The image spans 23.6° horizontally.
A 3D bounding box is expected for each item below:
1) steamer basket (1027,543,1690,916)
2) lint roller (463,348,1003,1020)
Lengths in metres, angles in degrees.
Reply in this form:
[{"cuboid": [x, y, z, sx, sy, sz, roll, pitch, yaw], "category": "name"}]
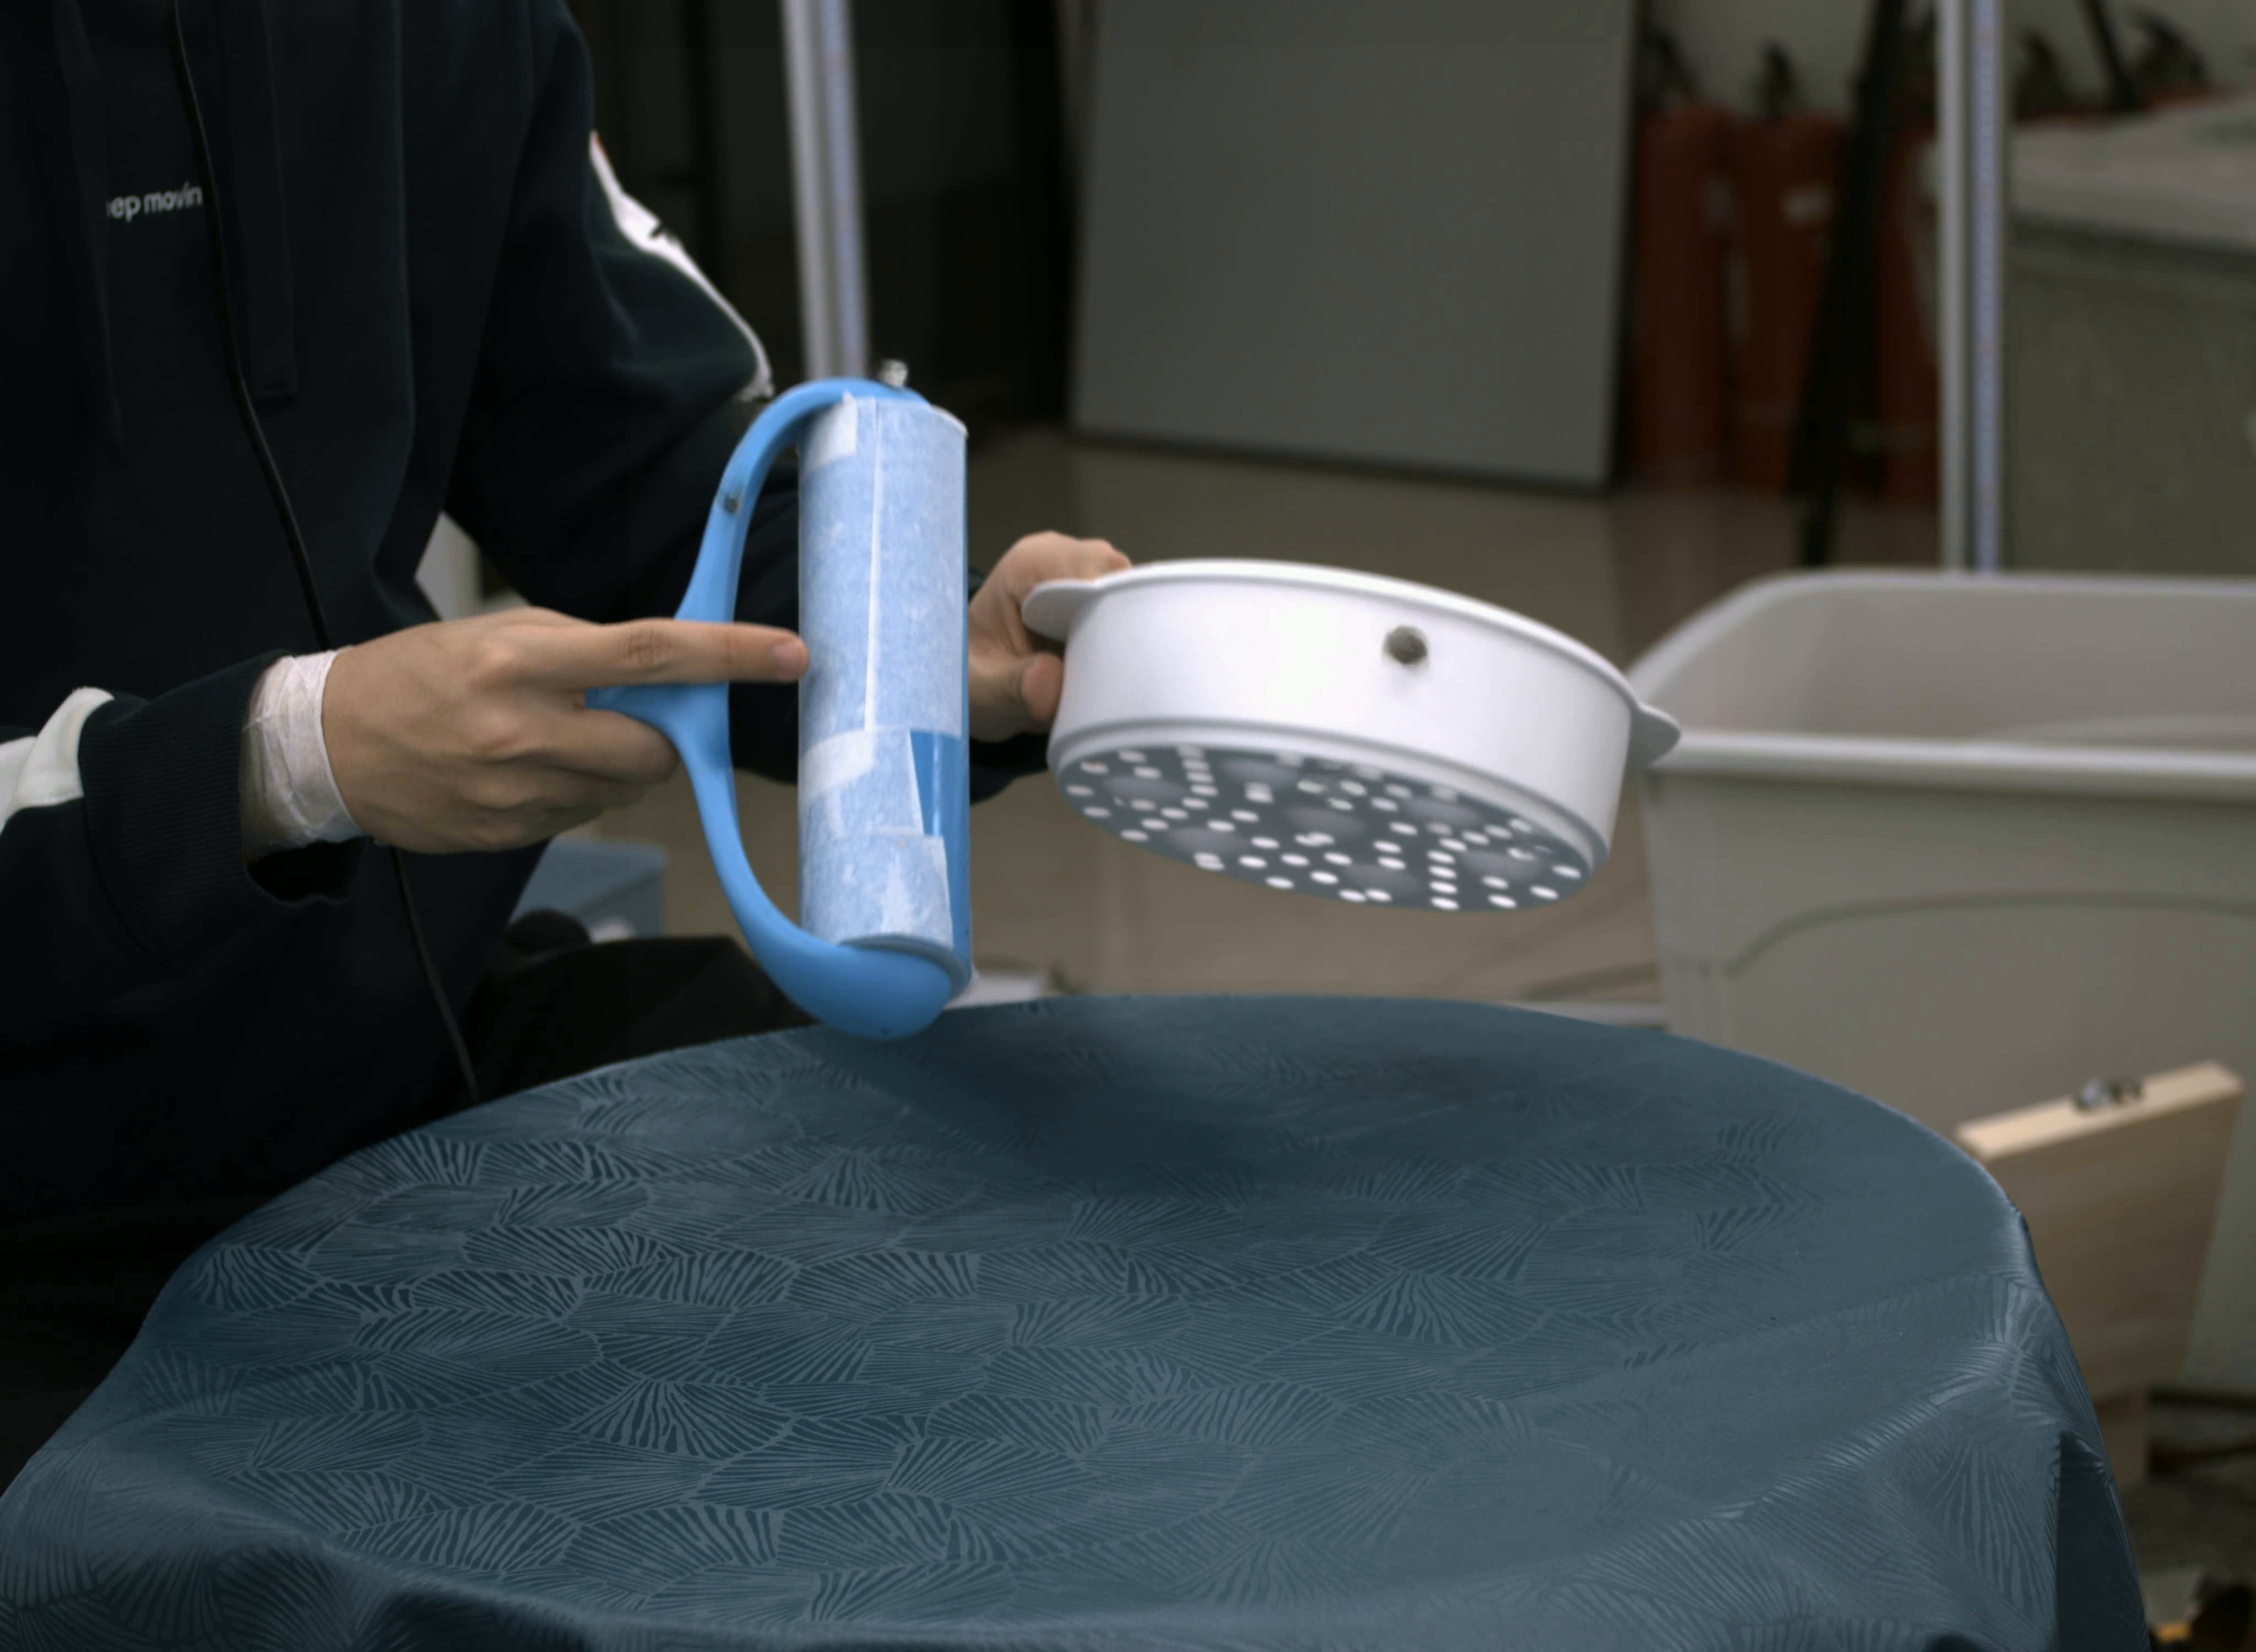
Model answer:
[{"cuboid": [0.074, -0.027, 1.822, 0.227, 0.070, 0.202, 11, -17, -5], "category": "steamer basket"}, {"cuboid": [-0.130, -0.035, 1.689, 0.179, 0.232, 0.067, -11, -27, 8], "category": "lint roller"}]
